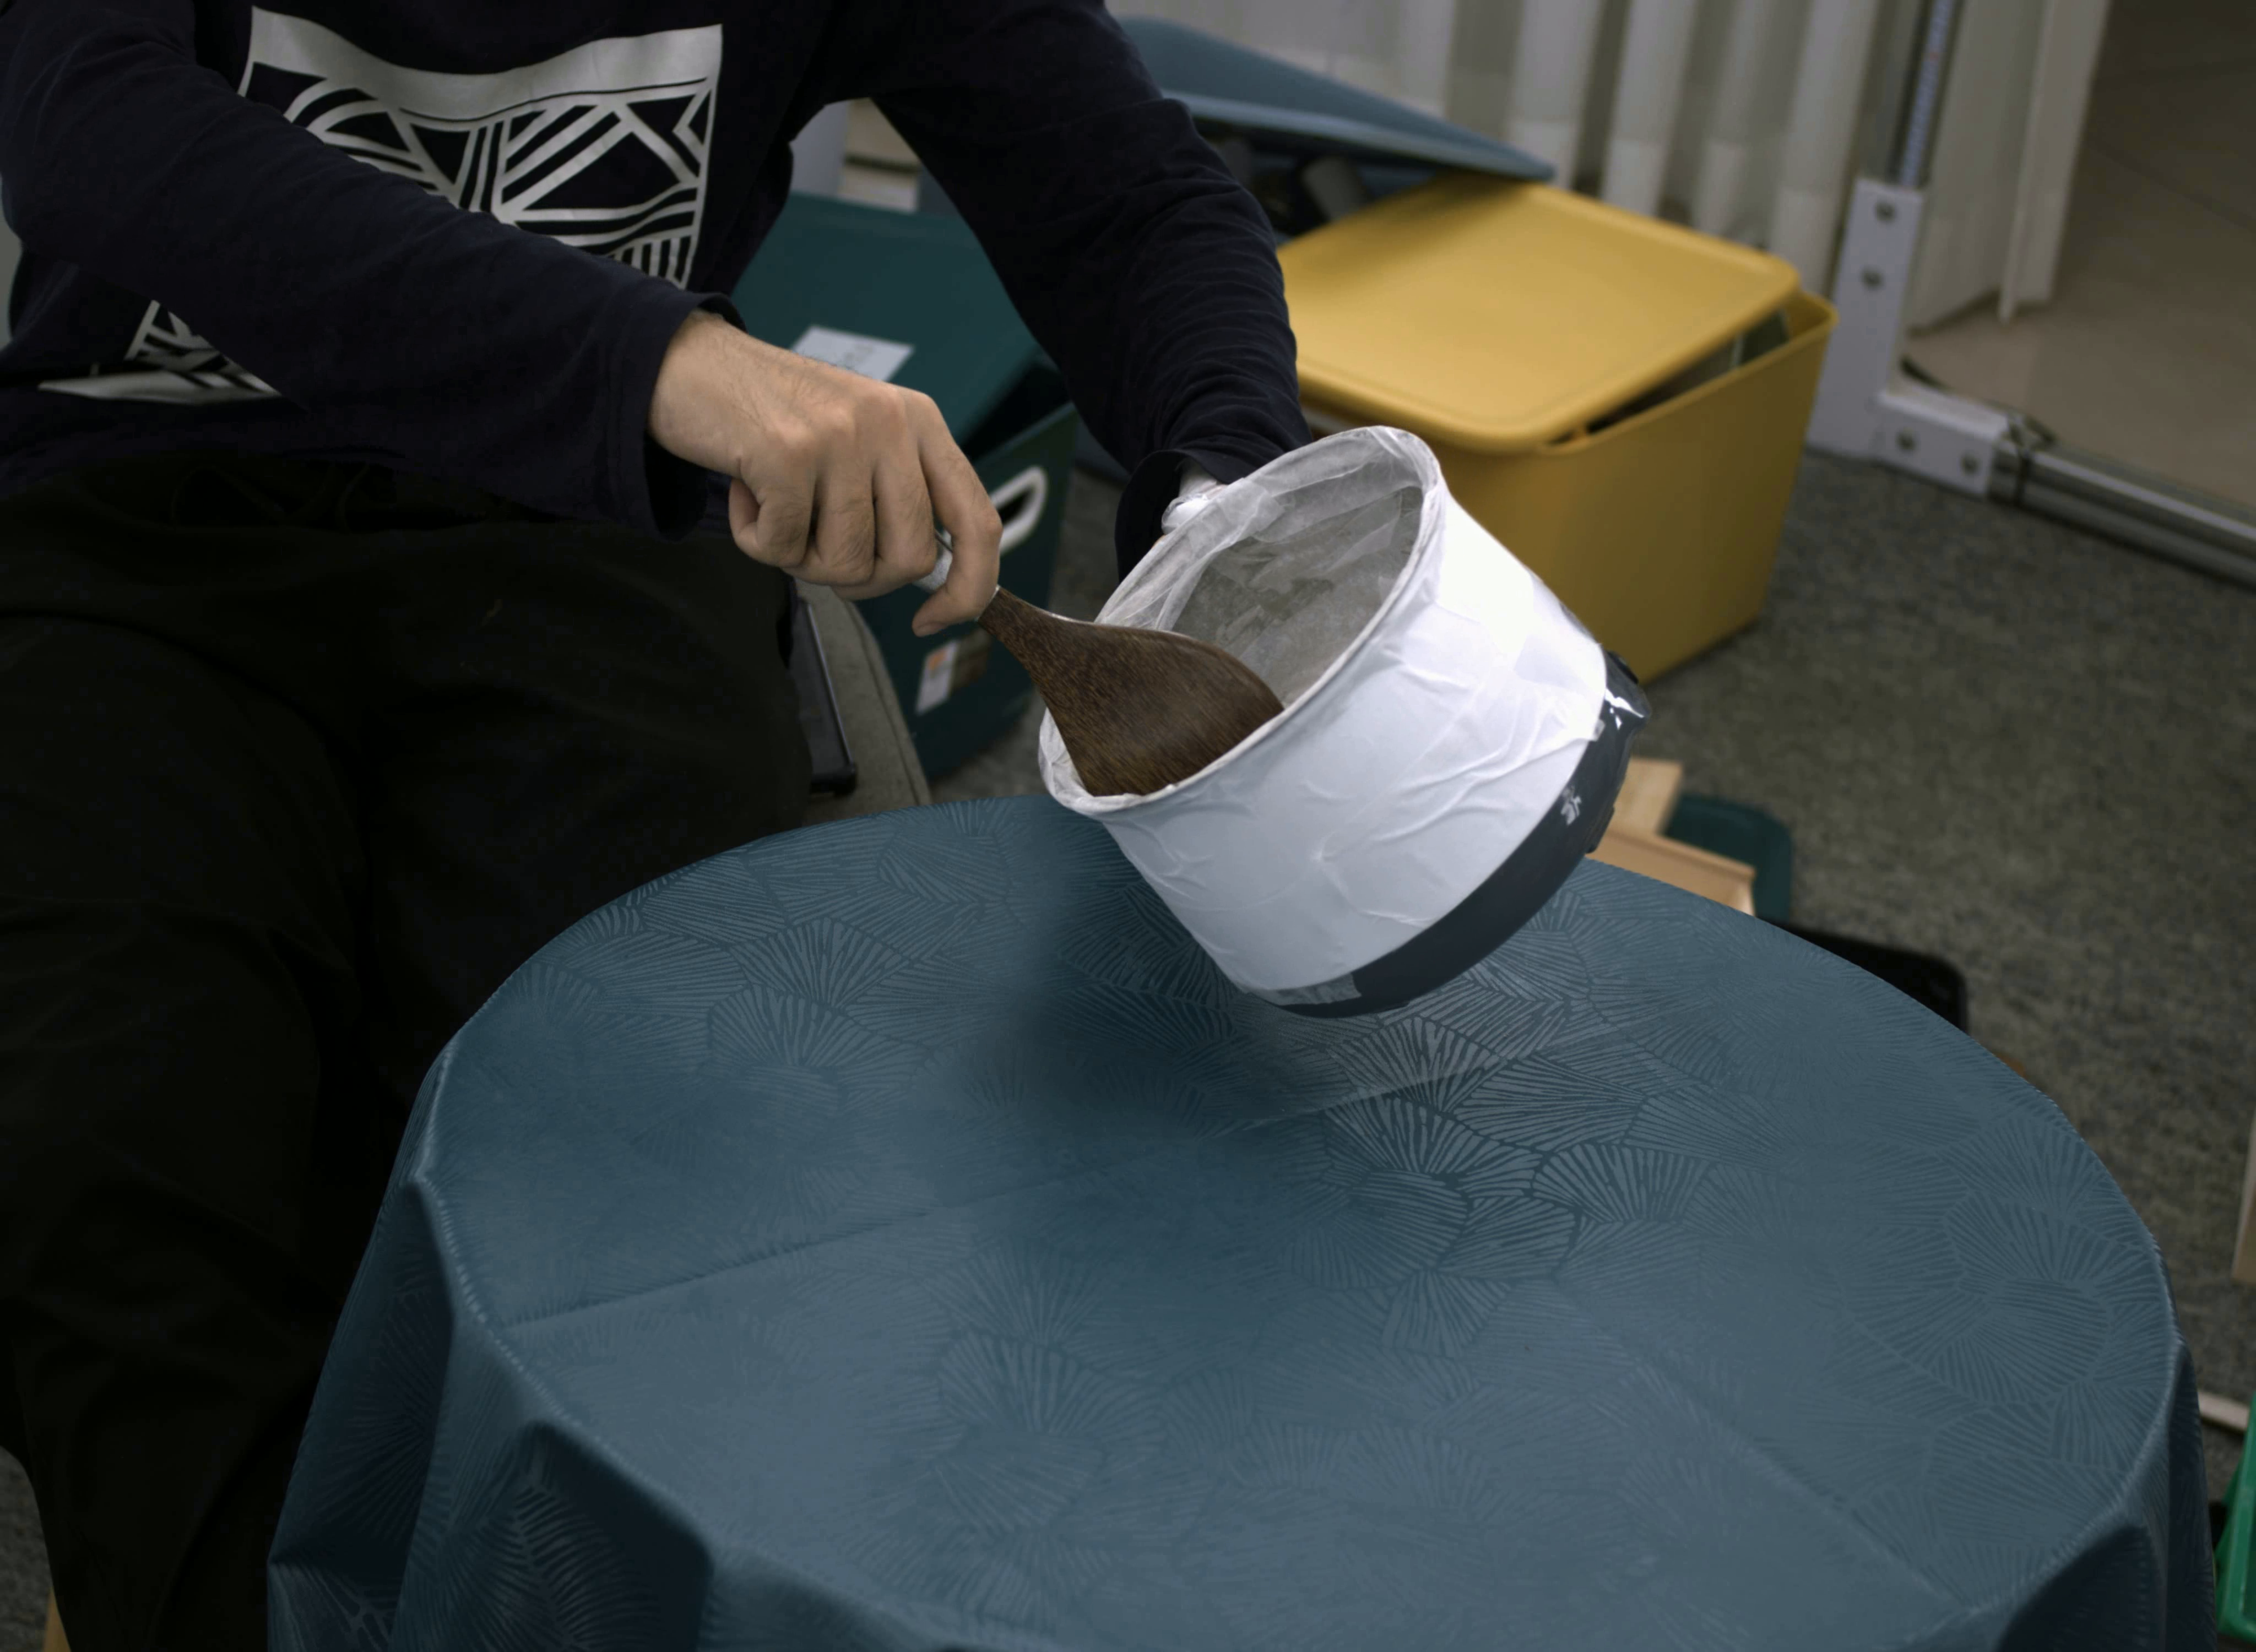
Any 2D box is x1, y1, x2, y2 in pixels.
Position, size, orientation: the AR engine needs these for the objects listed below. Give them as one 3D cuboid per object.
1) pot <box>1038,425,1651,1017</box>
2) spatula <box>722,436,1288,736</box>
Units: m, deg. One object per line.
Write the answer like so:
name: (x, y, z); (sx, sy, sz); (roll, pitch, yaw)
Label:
pot: (0.071, -0.043, 1.887); (0.178, 0.135, 0.235); (-39, 26, 6)
spatula: (-0.044, -0.084, 1.840); (0.215, 0.072, 0.009); (25, 59, -2)
